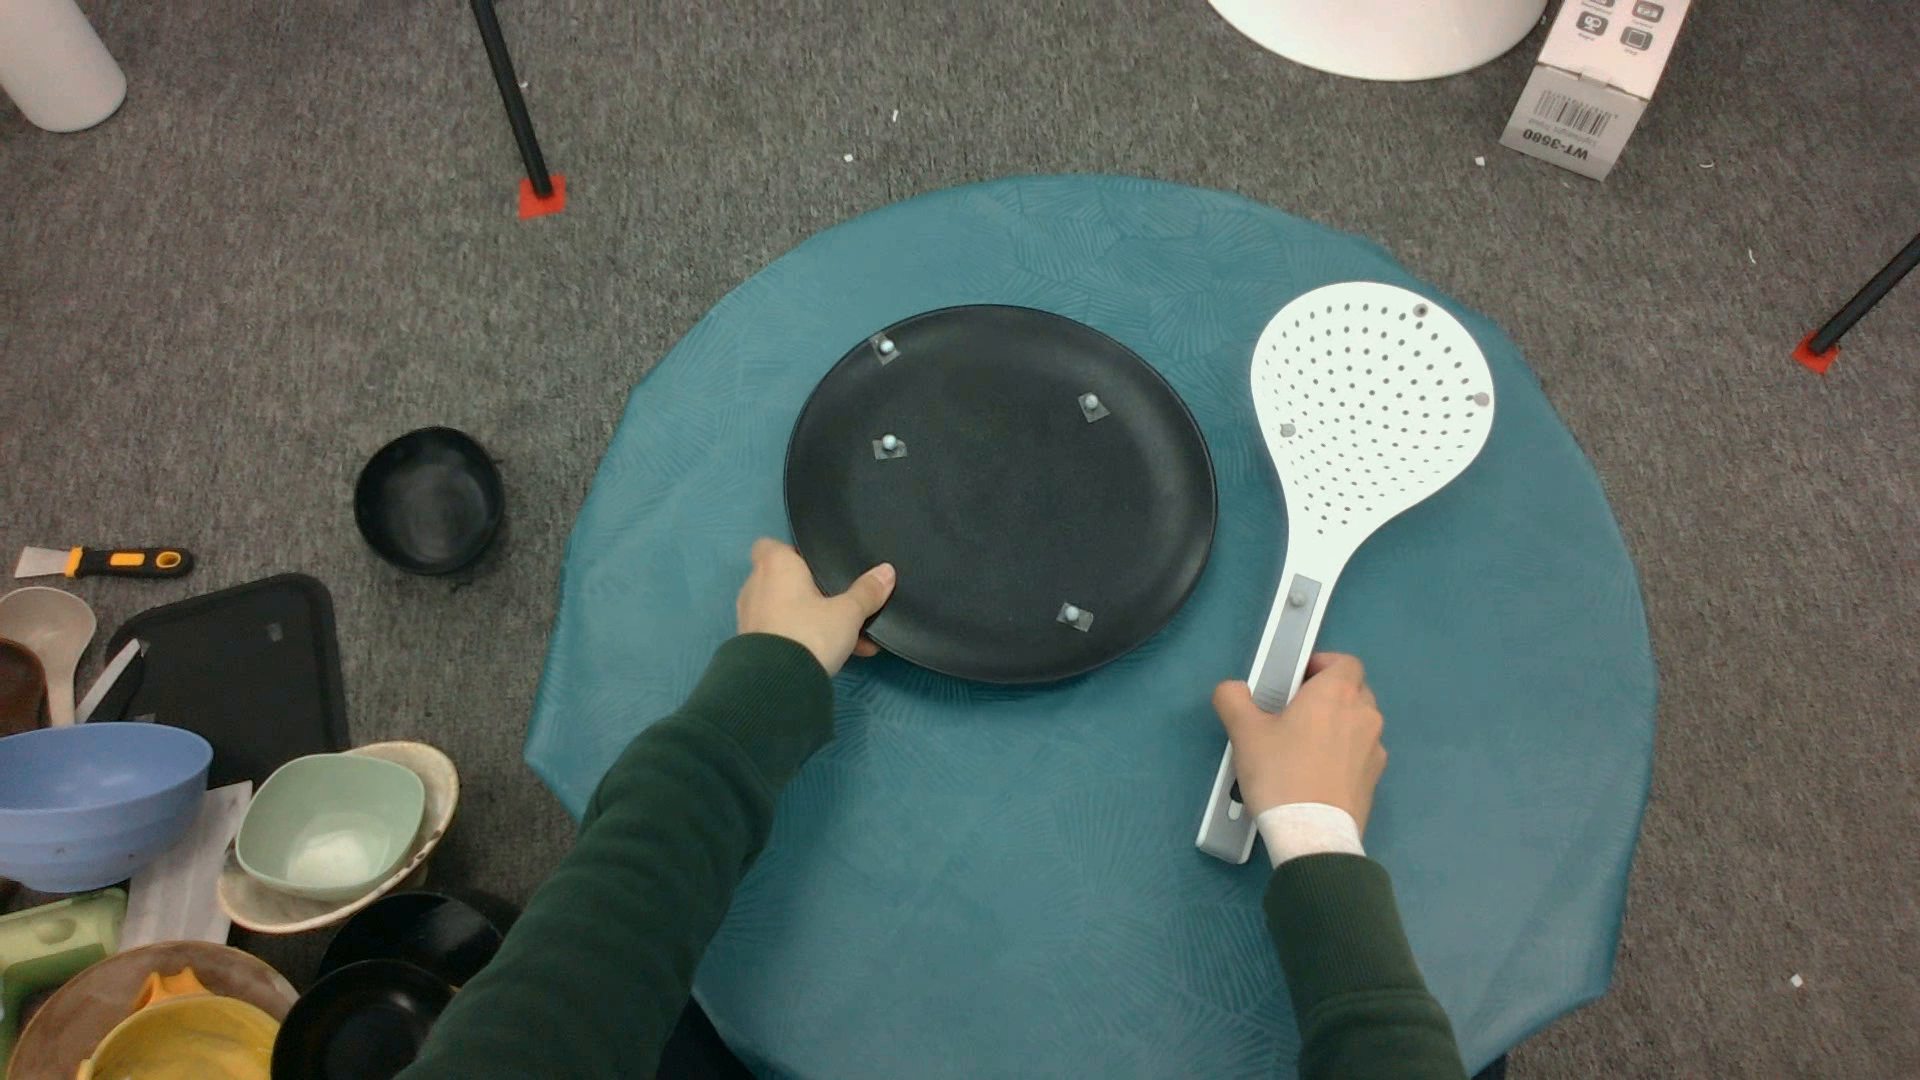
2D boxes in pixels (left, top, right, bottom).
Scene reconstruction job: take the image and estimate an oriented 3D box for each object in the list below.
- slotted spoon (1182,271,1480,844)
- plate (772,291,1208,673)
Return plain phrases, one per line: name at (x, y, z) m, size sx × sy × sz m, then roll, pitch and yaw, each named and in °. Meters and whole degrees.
slotted spoon at (0.189, 0.000, 0.753) m, size 0.136 × 0.045 × 0.351 m, roll 21°, pitch 64°, yaw 7°
plate at (0.017, -0.037, 0.772) m, size 0.244 × 0.023 × 0.245 m, roll 2°, pitch 62°, yaw -5°
